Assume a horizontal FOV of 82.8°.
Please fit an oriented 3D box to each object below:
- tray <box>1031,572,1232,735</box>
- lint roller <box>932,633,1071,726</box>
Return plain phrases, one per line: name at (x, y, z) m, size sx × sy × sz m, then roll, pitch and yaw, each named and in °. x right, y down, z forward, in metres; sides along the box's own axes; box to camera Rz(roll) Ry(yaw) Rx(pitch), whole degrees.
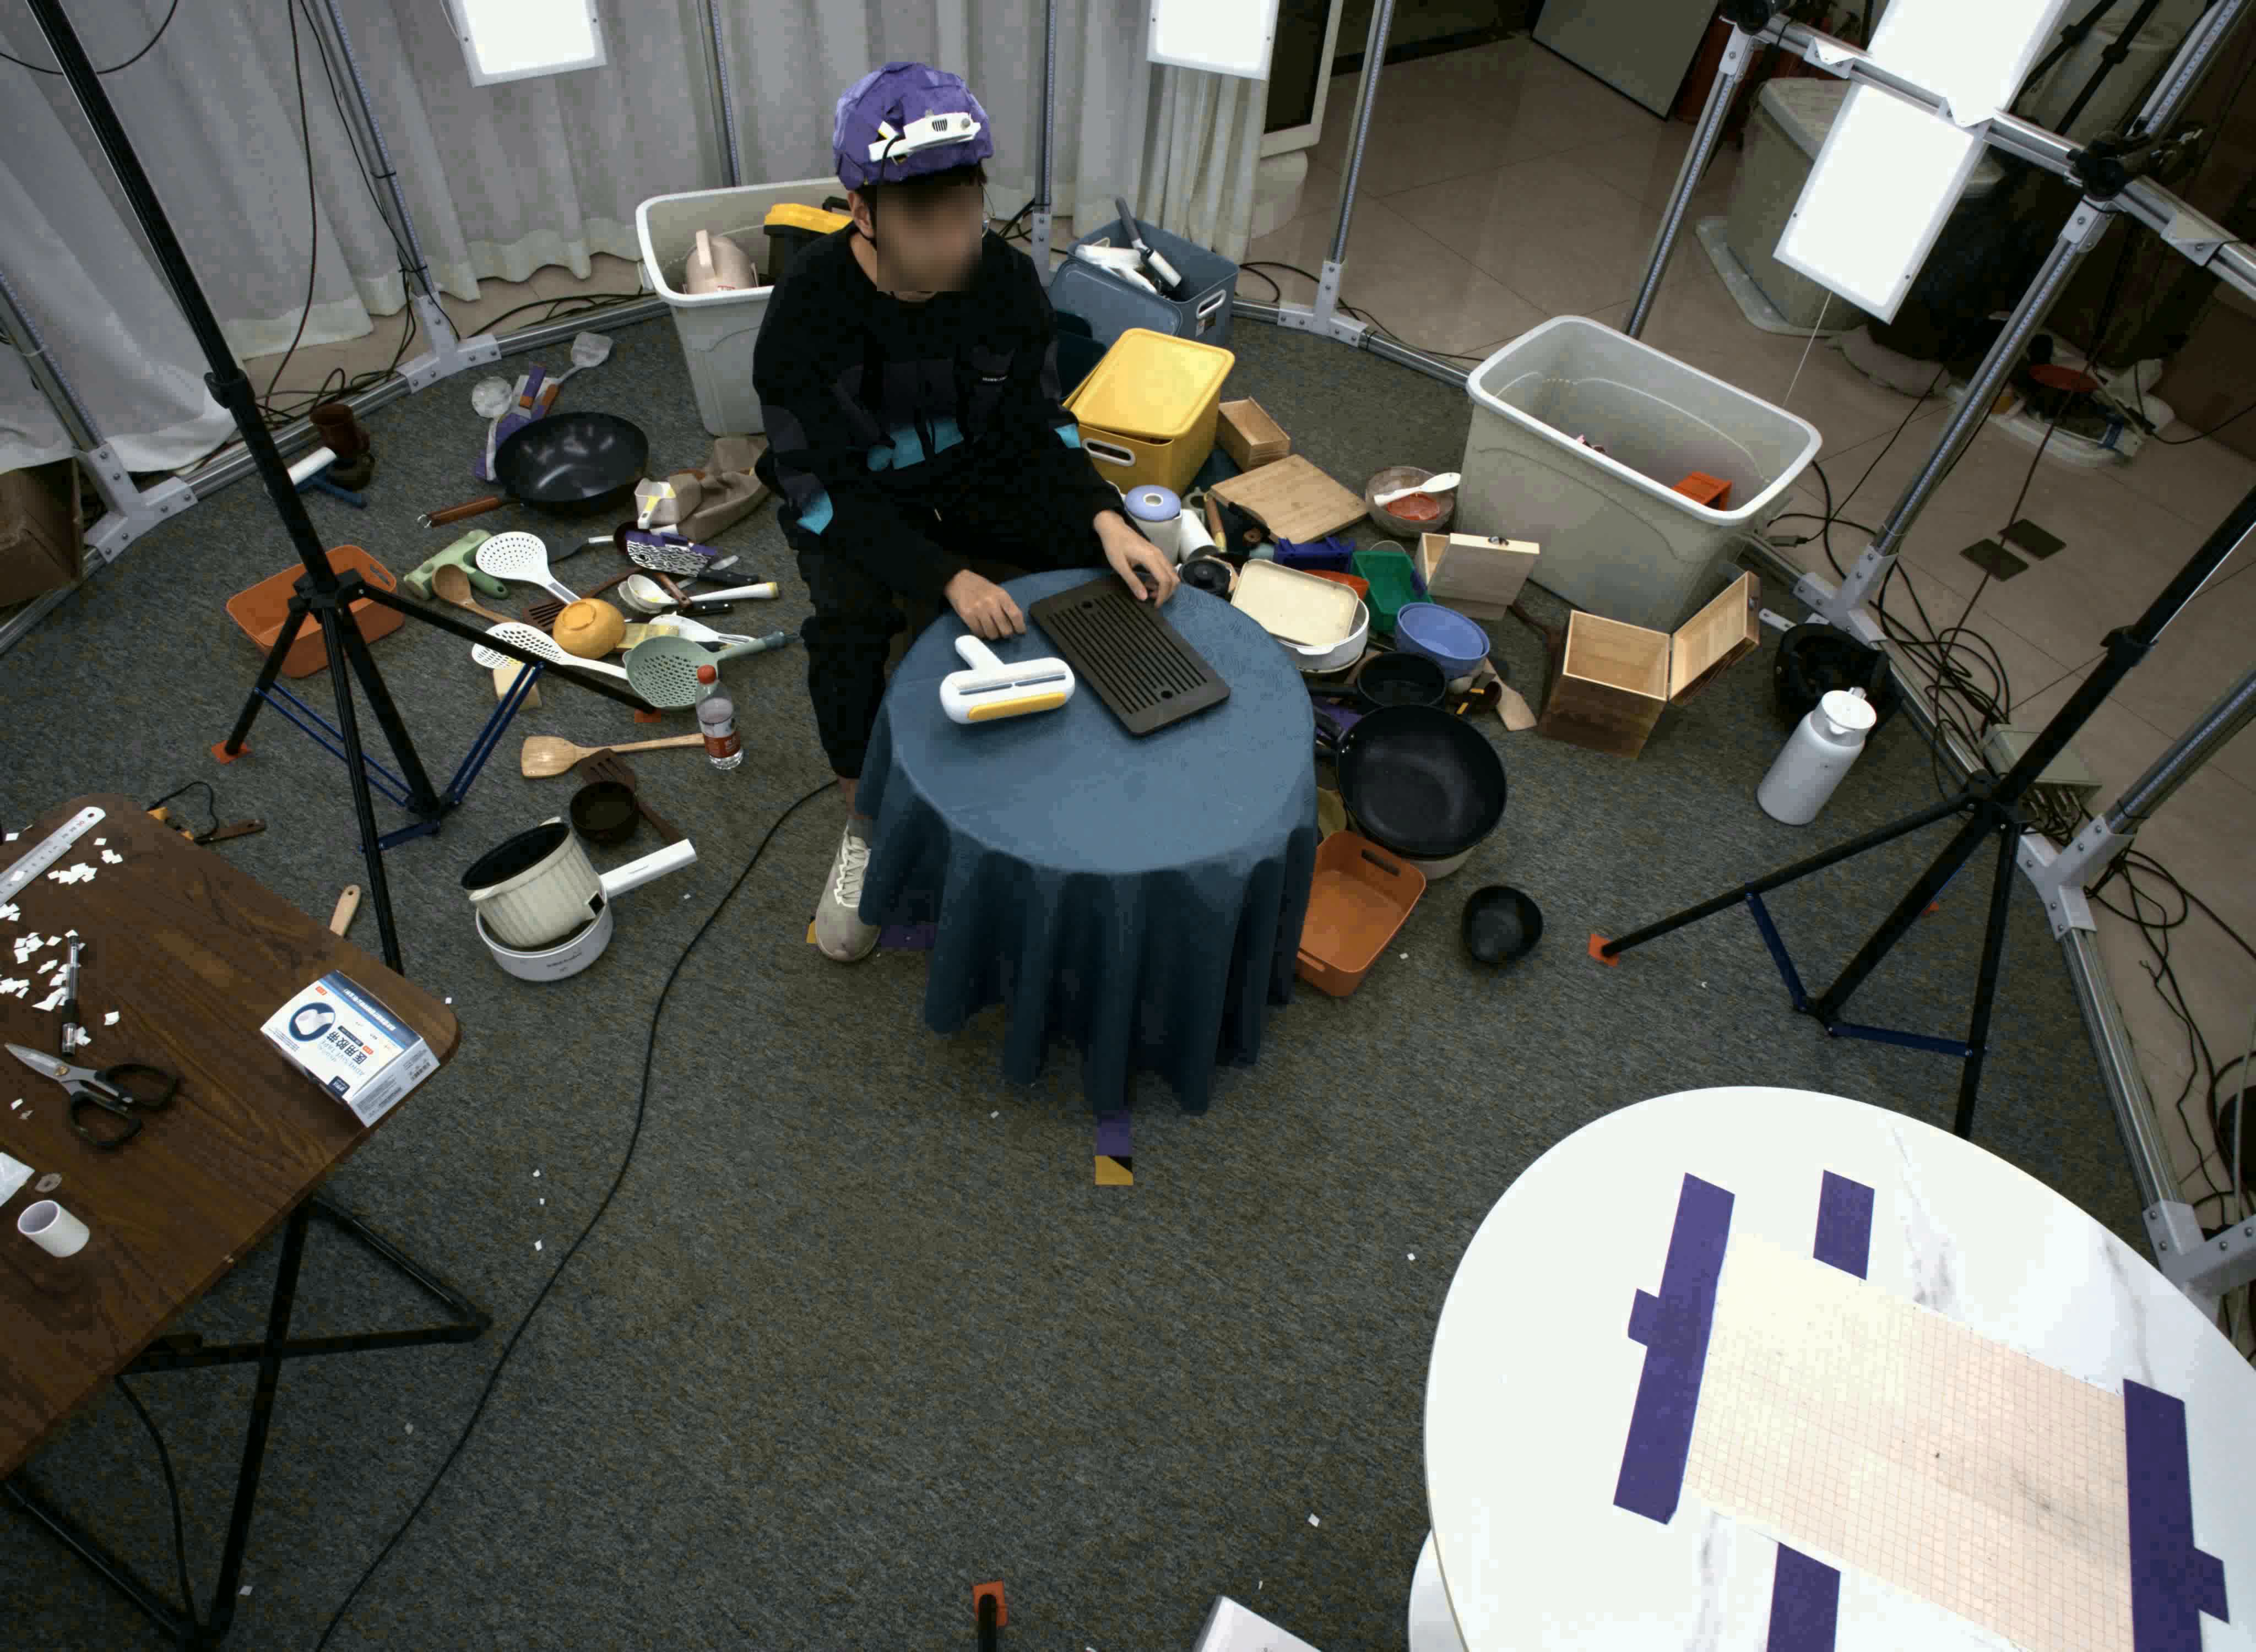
tray at (0.001, -0.256, 1.879) m, size 0.171 × 0.018 × 0.312 m, roll -24°, pitch 54°, yaw -22°
lint roller at (-0.195, -0.221, 1.804) m, size 0.193 × 0.072 × 0.197 m, roll -12°, pitch 49°, yaw -21°
